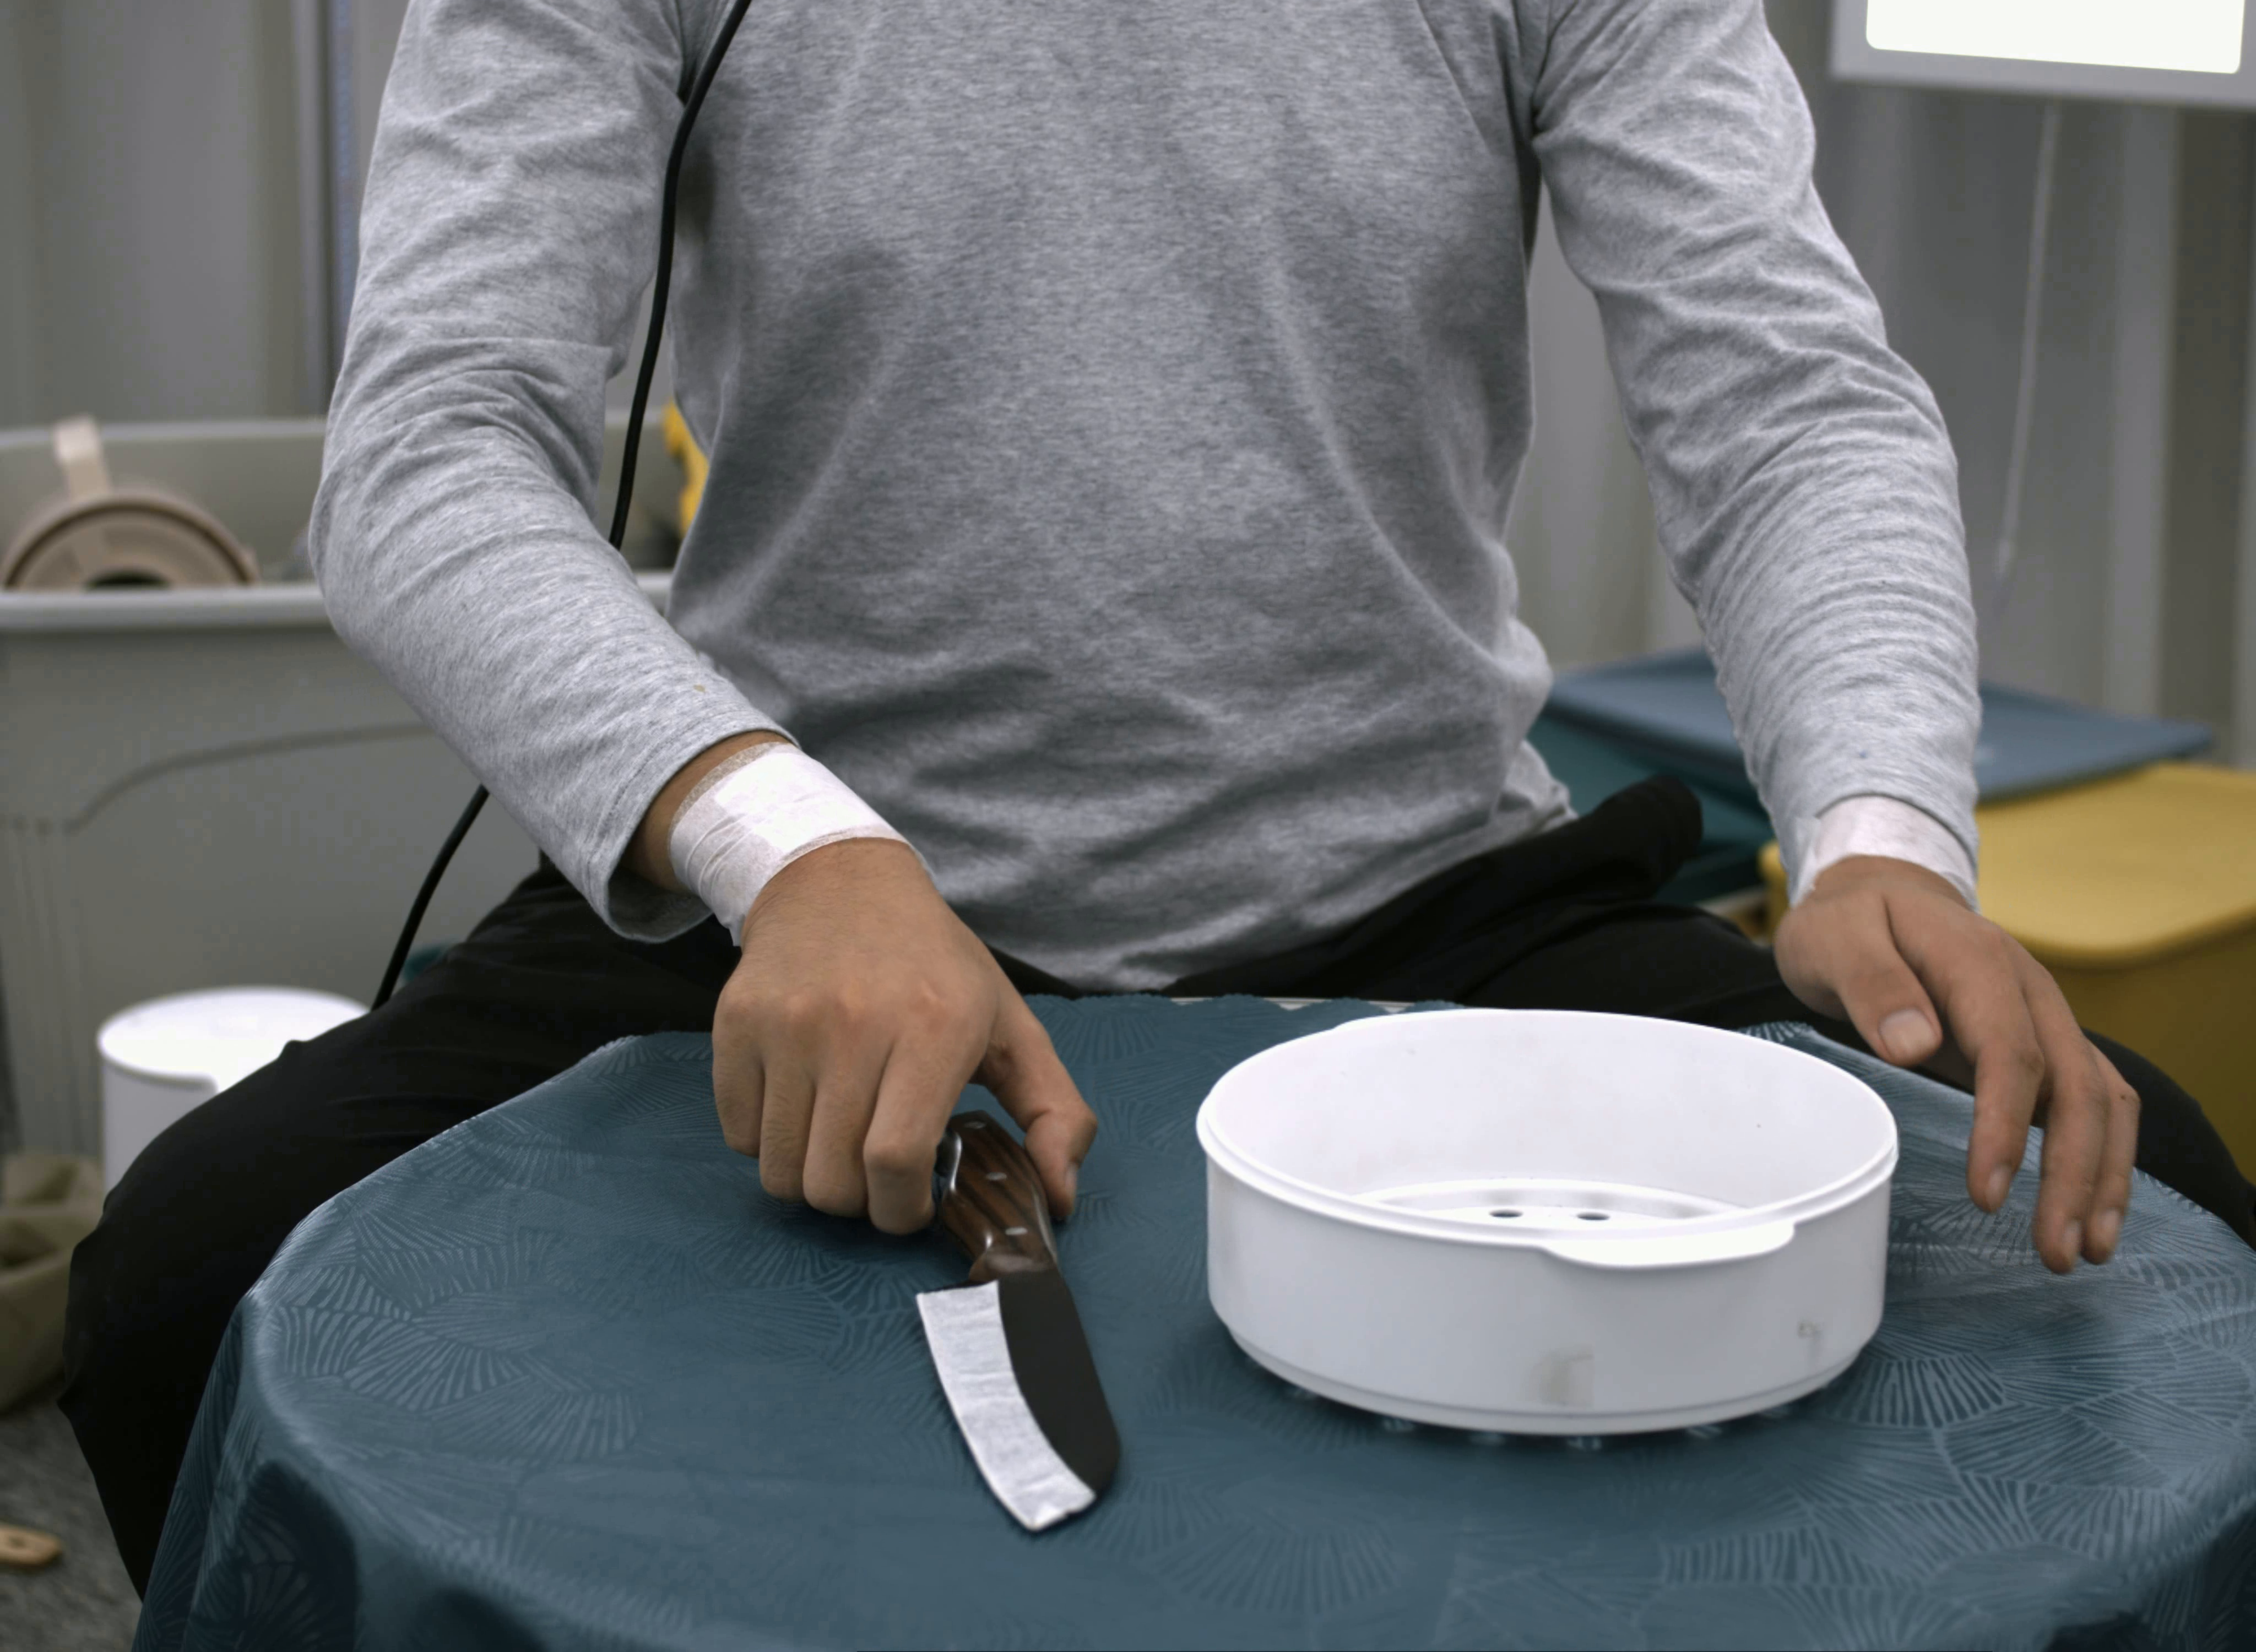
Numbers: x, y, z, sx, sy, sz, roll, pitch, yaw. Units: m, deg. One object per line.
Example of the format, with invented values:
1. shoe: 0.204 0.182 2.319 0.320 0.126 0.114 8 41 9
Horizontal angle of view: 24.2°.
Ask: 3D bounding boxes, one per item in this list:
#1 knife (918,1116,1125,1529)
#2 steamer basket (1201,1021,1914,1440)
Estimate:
1. knife: -0.035 0.139 1.497 0.050 0.020 0.287 -7 17 -3
2. steamer basket: 0.121 0.114 1.497 0.202 0.070 0.228 -3 15 -15
